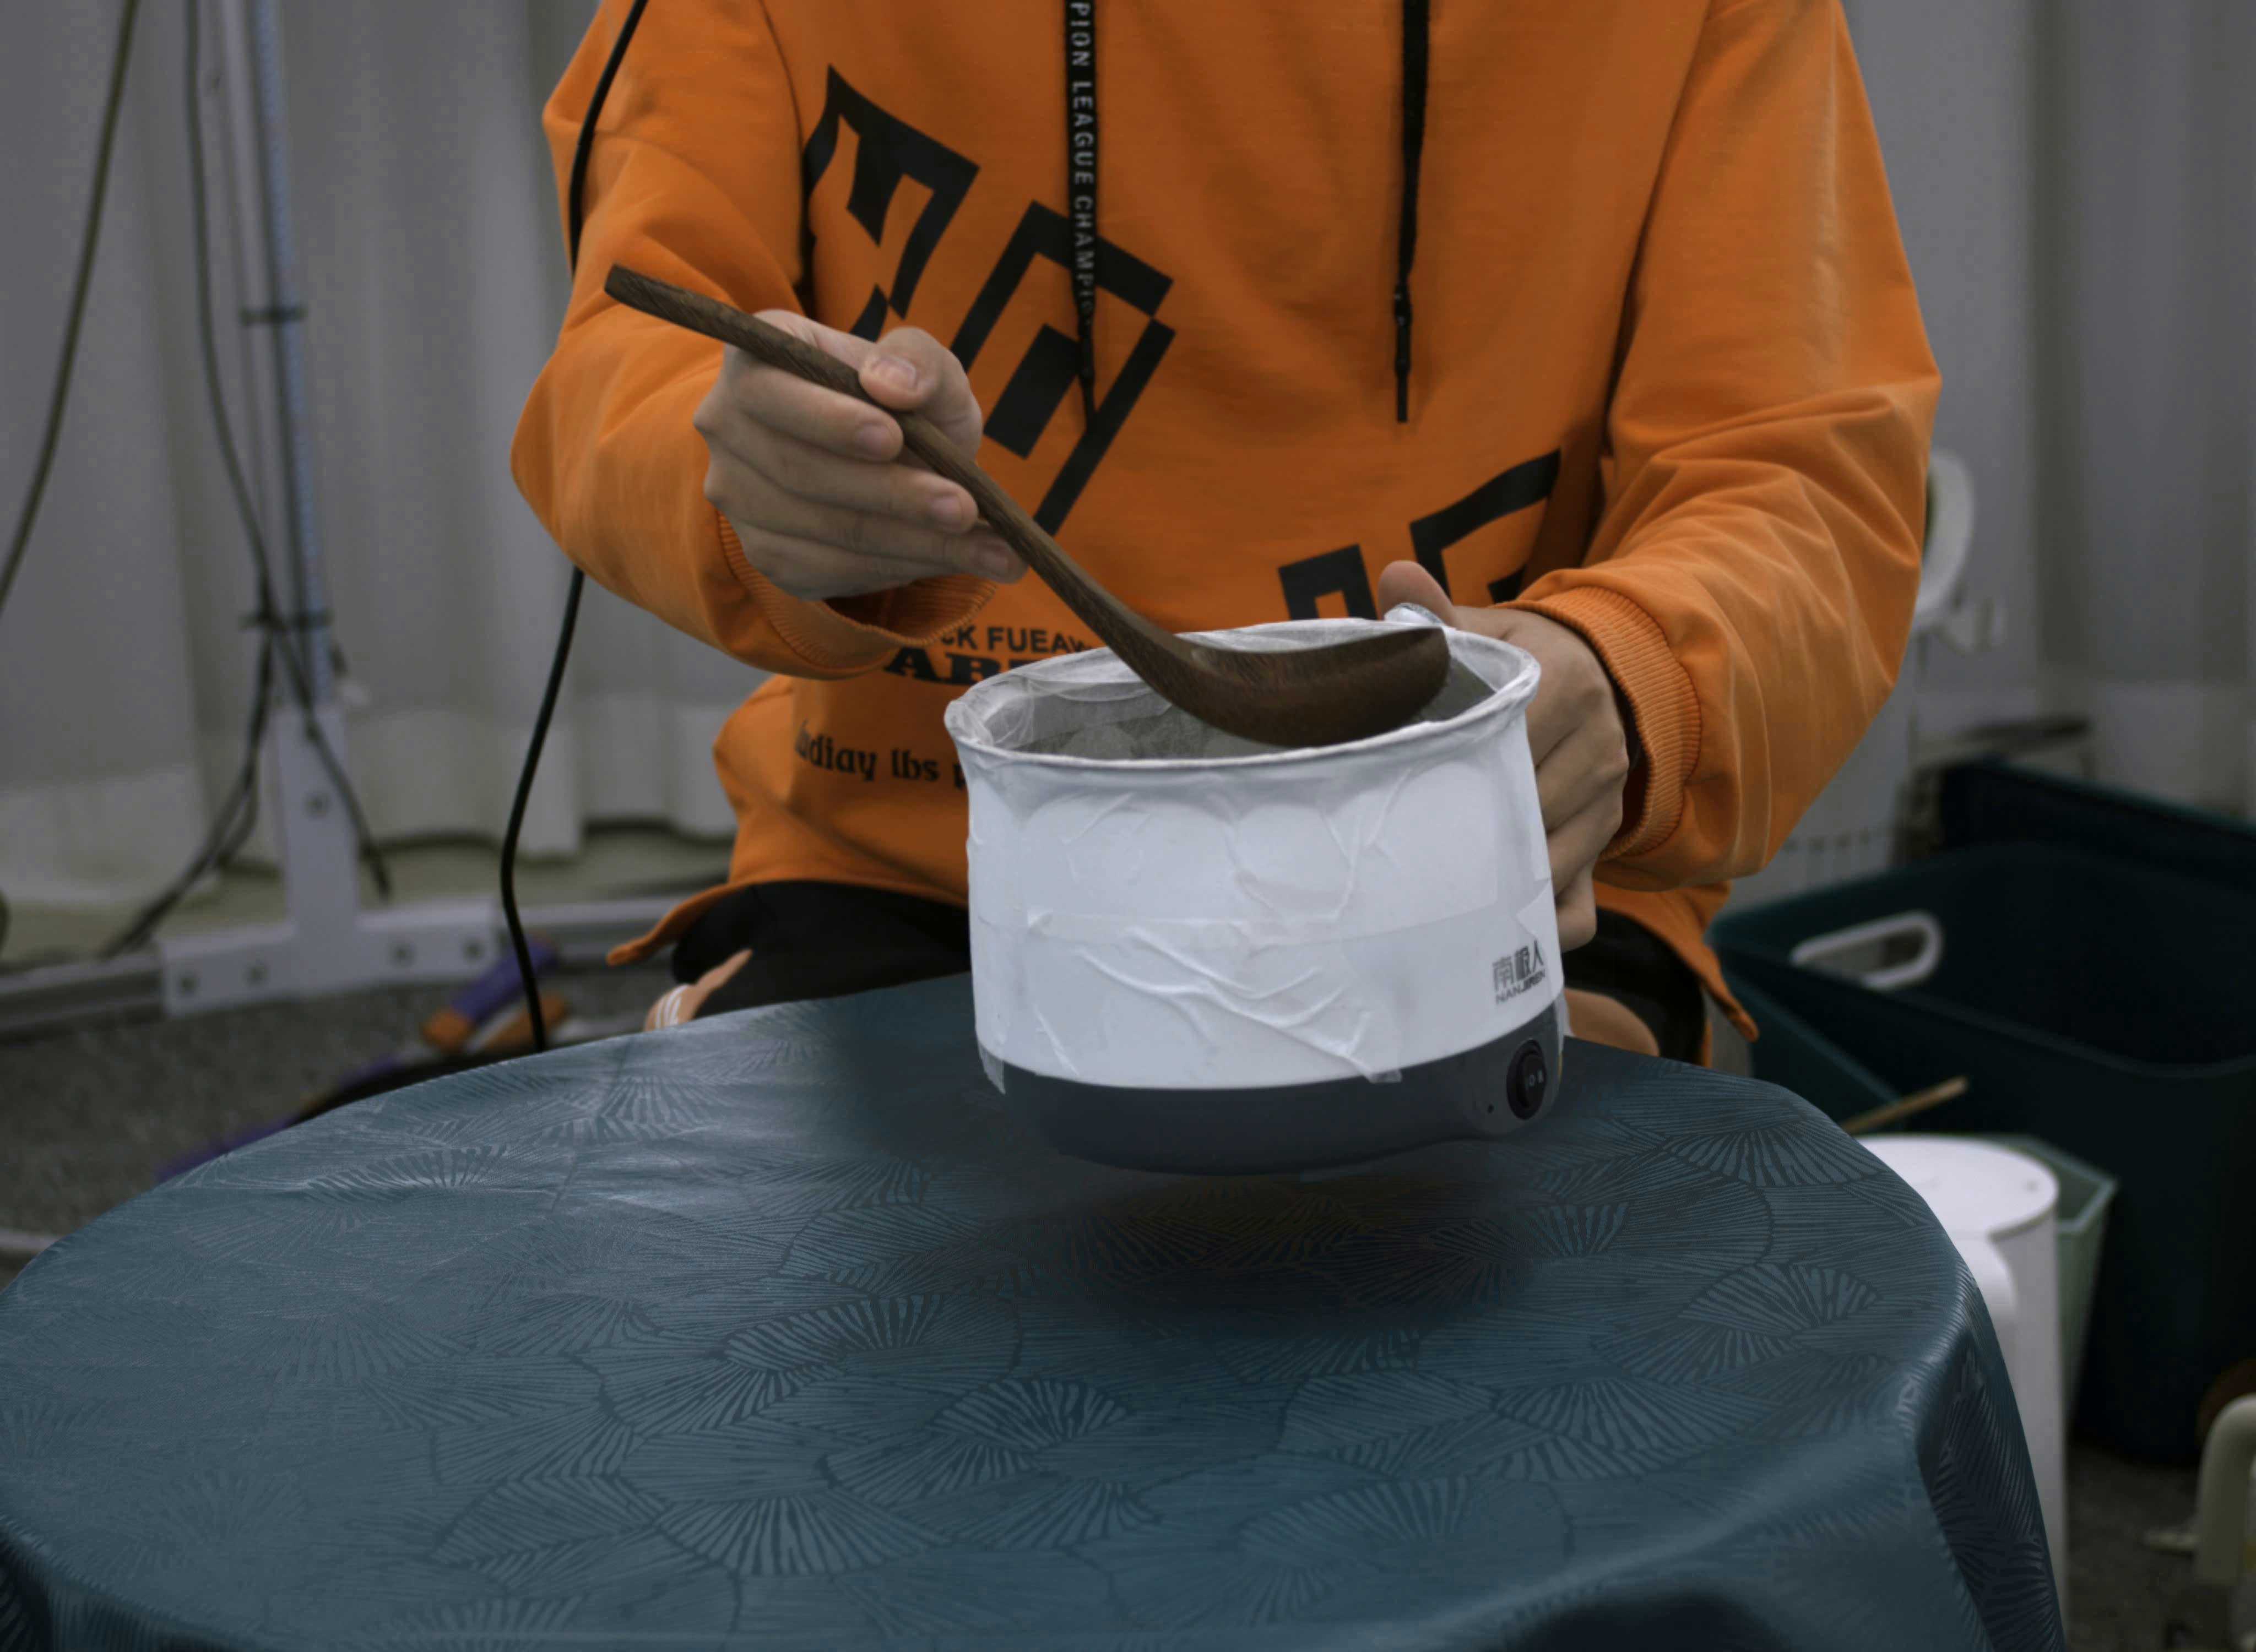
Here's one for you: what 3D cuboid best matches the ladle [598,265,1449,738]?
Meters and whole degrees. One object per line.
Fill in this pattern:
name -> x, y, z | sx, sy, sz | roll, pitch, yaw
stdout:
ladle -> -0.029, -0.112, 1.638 | 0.274, 0.071, 0.076 | 37, 7, 0

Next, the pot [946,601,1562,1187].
pot -> 0.053, 0.015, 1.651 | 0.179, 0.136, 0.234 | 4, 16, 31
